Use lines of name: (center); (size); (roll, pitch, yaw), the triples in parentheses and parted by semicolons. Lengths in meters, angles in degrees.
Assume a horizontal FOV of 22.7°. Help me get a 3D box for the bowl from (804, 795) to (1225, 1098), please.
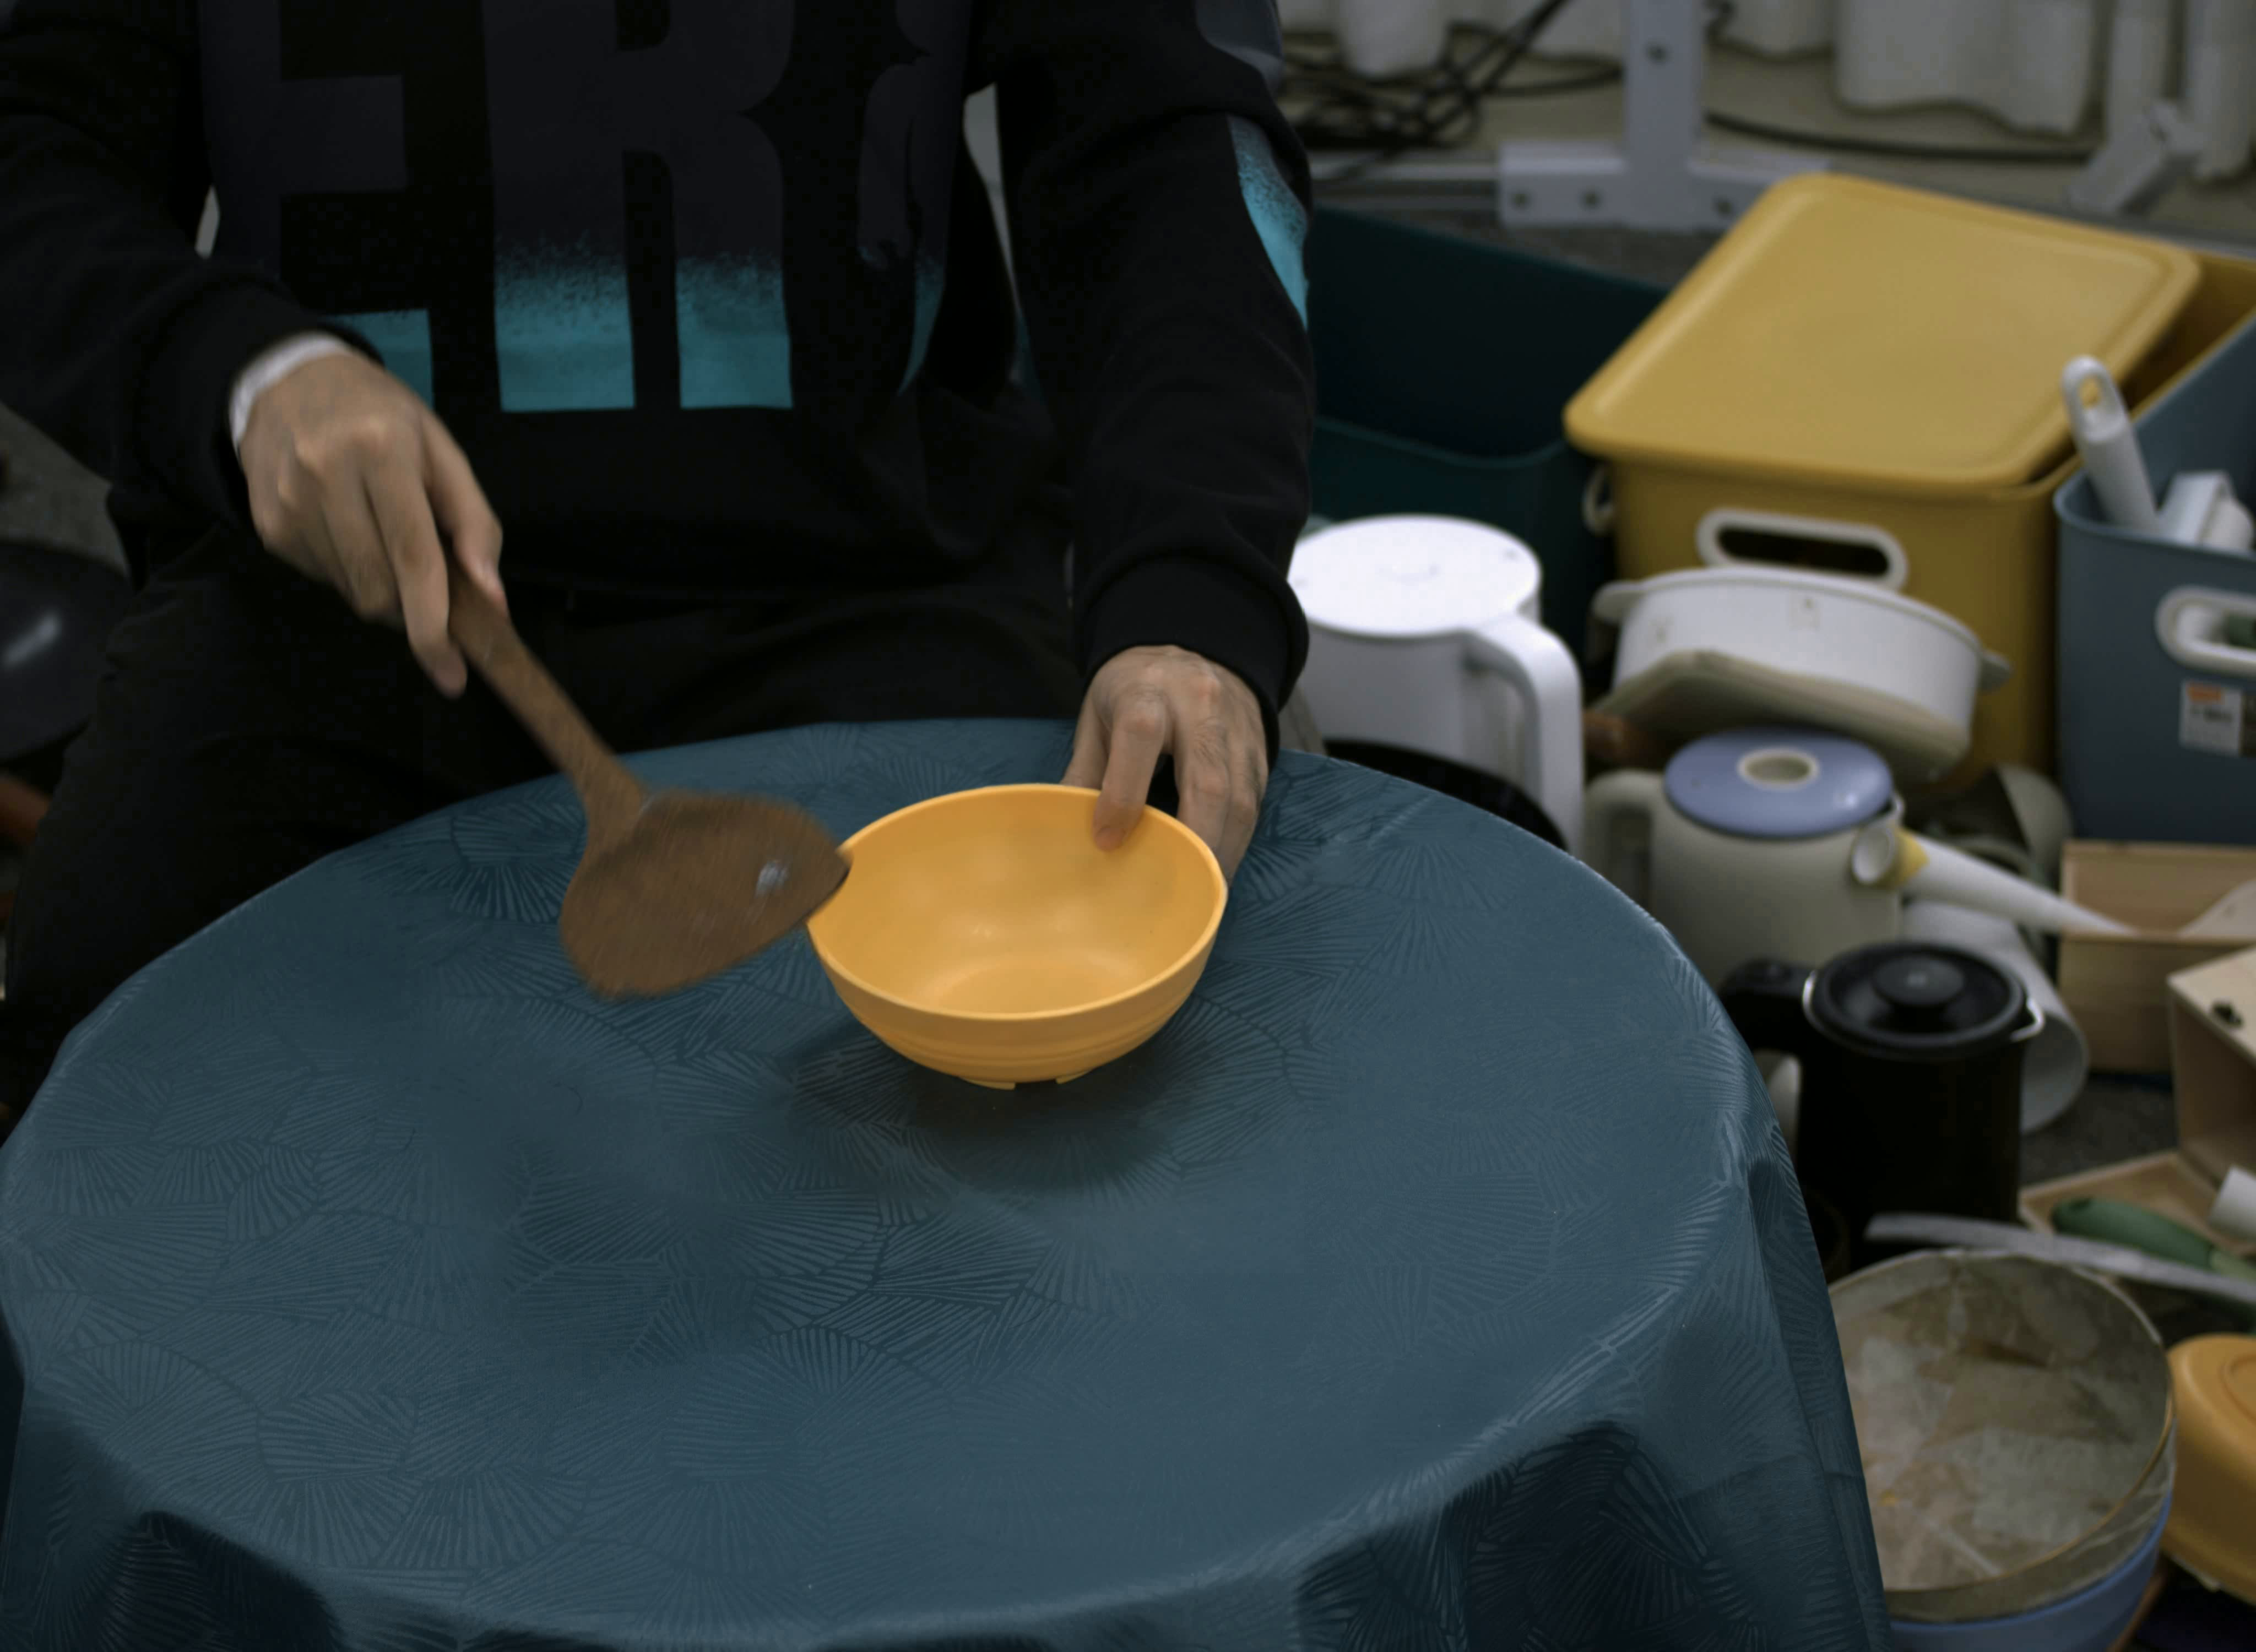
bowl: (-0.039, 0.051, 1.937); (0.144, 0.059, 0.148); (0, 30, 0)

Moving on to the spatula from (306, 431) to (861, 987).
spatula: (-0.206, -0.052, 1.935); (0.096, 0.015, 0.389); (-30, 40, -13)
